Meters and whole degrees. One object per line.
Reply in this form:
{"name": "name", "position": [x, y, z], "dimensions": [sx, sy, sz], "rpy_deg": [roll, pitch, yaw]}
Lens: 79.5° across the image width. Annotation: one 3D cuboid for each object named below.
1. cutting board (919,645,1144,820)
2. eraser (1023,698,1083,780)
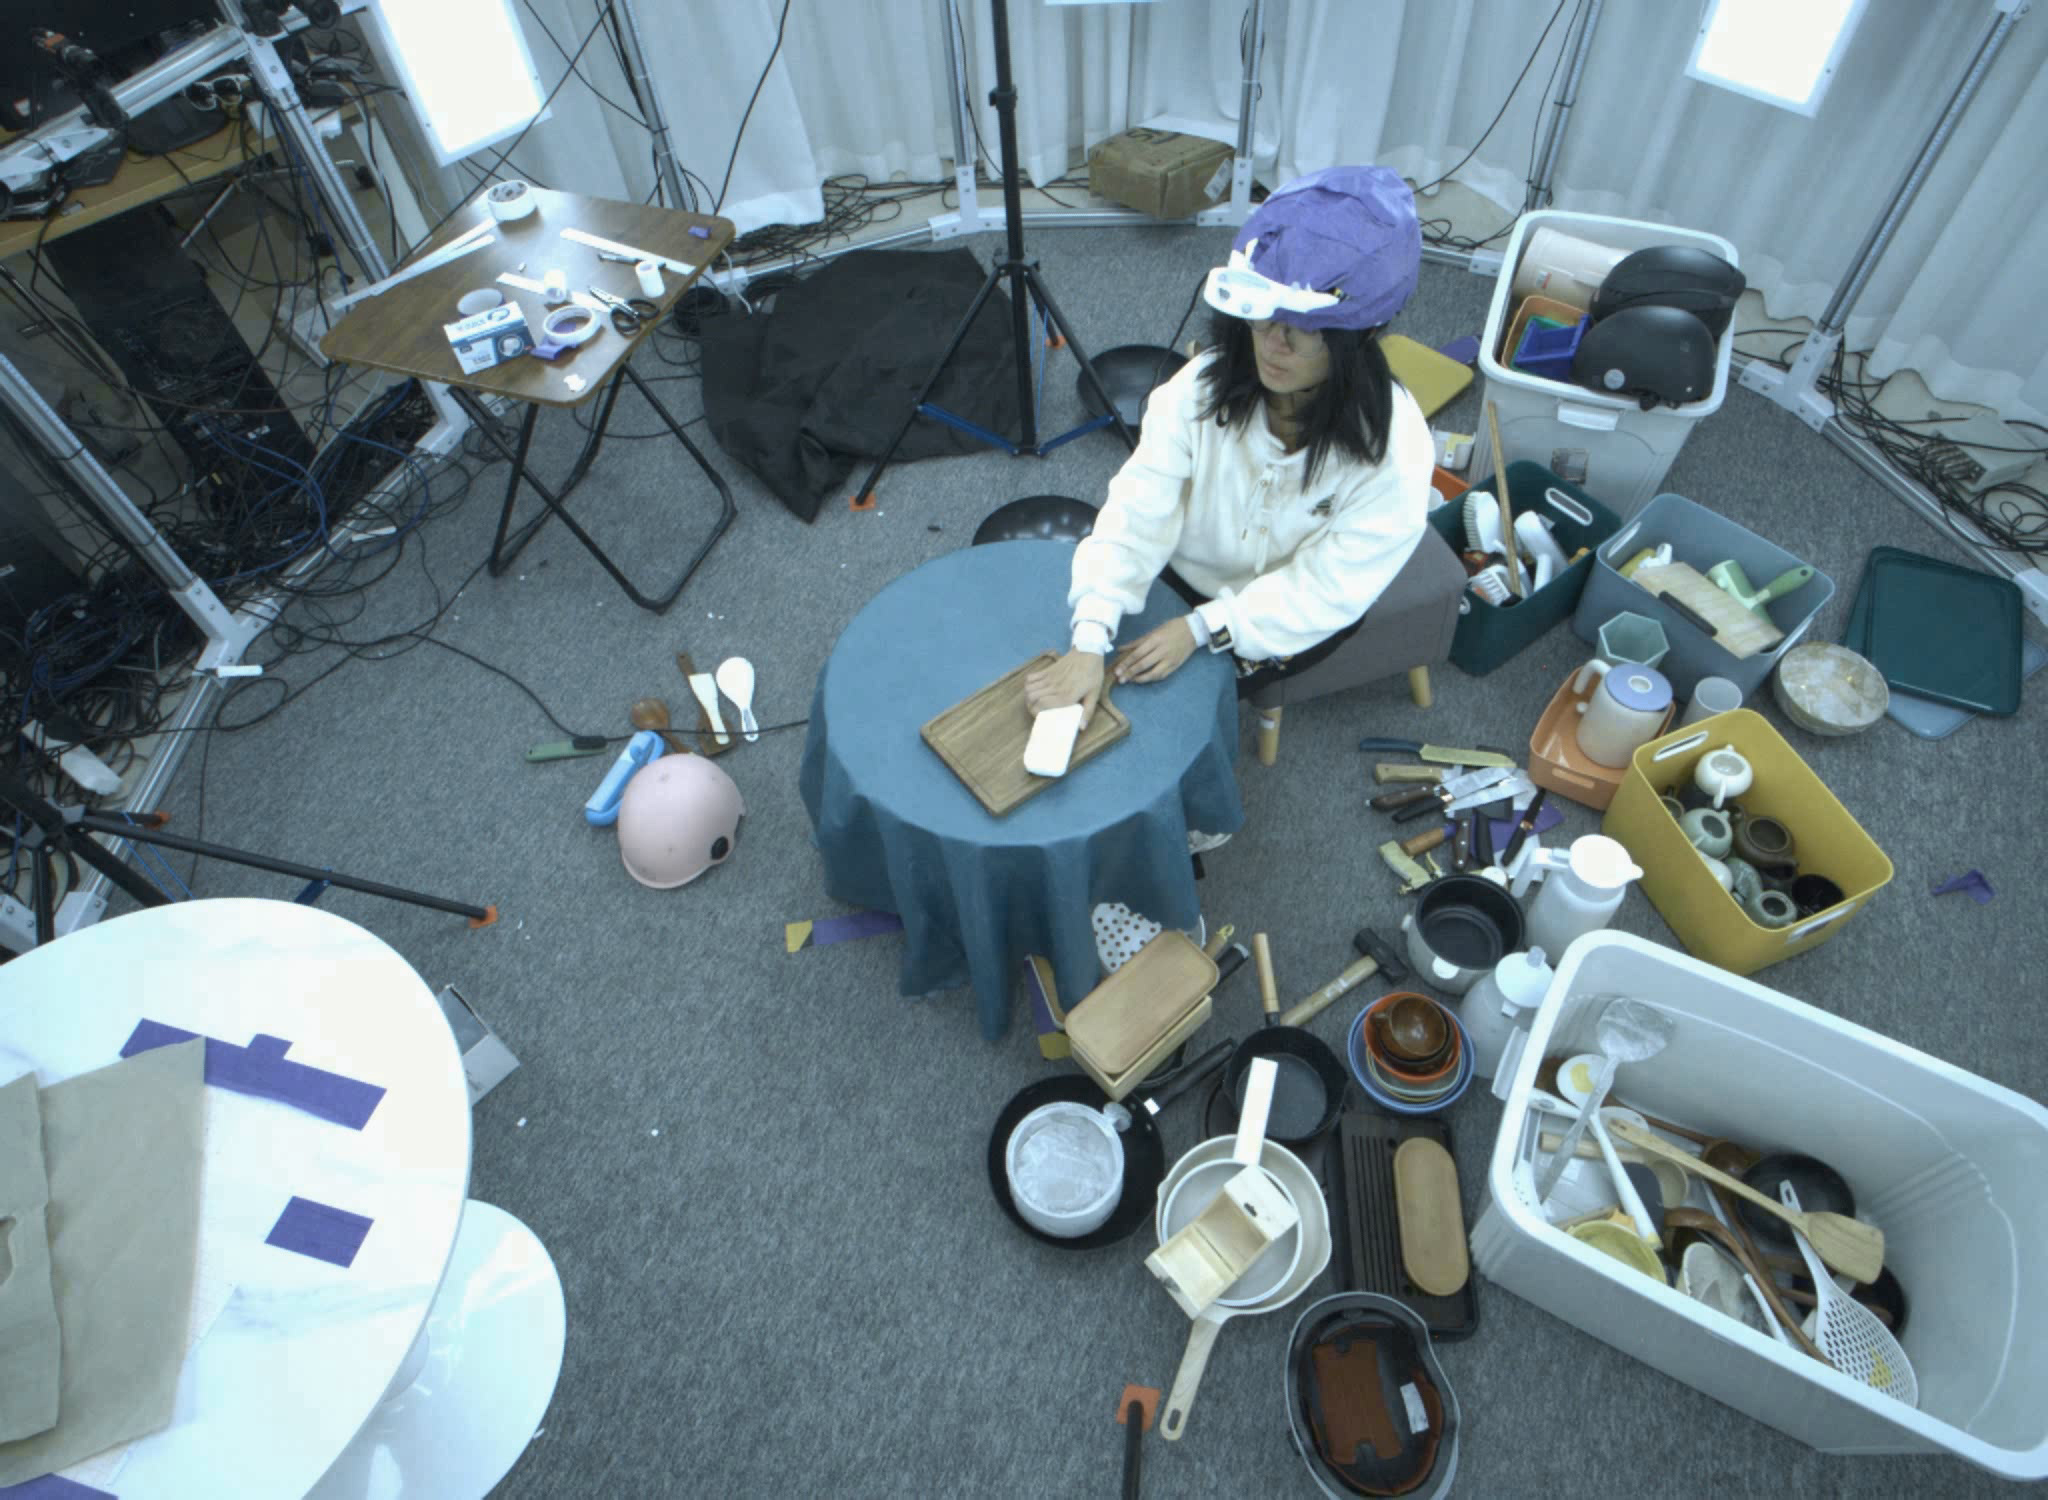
{"name": "cutting board", "position": [0.040, -0.056, 1.813], "dimensions": [0.355, 0.023, 0.197], "rpy_deg": [-34, 61, -20]}
{"name": "eraser", "position": [0.044, -0.018, 1.759], "dimensions": [0.063, 0.035, 0.131], "rpy_deg": [11, 54, 11]}
